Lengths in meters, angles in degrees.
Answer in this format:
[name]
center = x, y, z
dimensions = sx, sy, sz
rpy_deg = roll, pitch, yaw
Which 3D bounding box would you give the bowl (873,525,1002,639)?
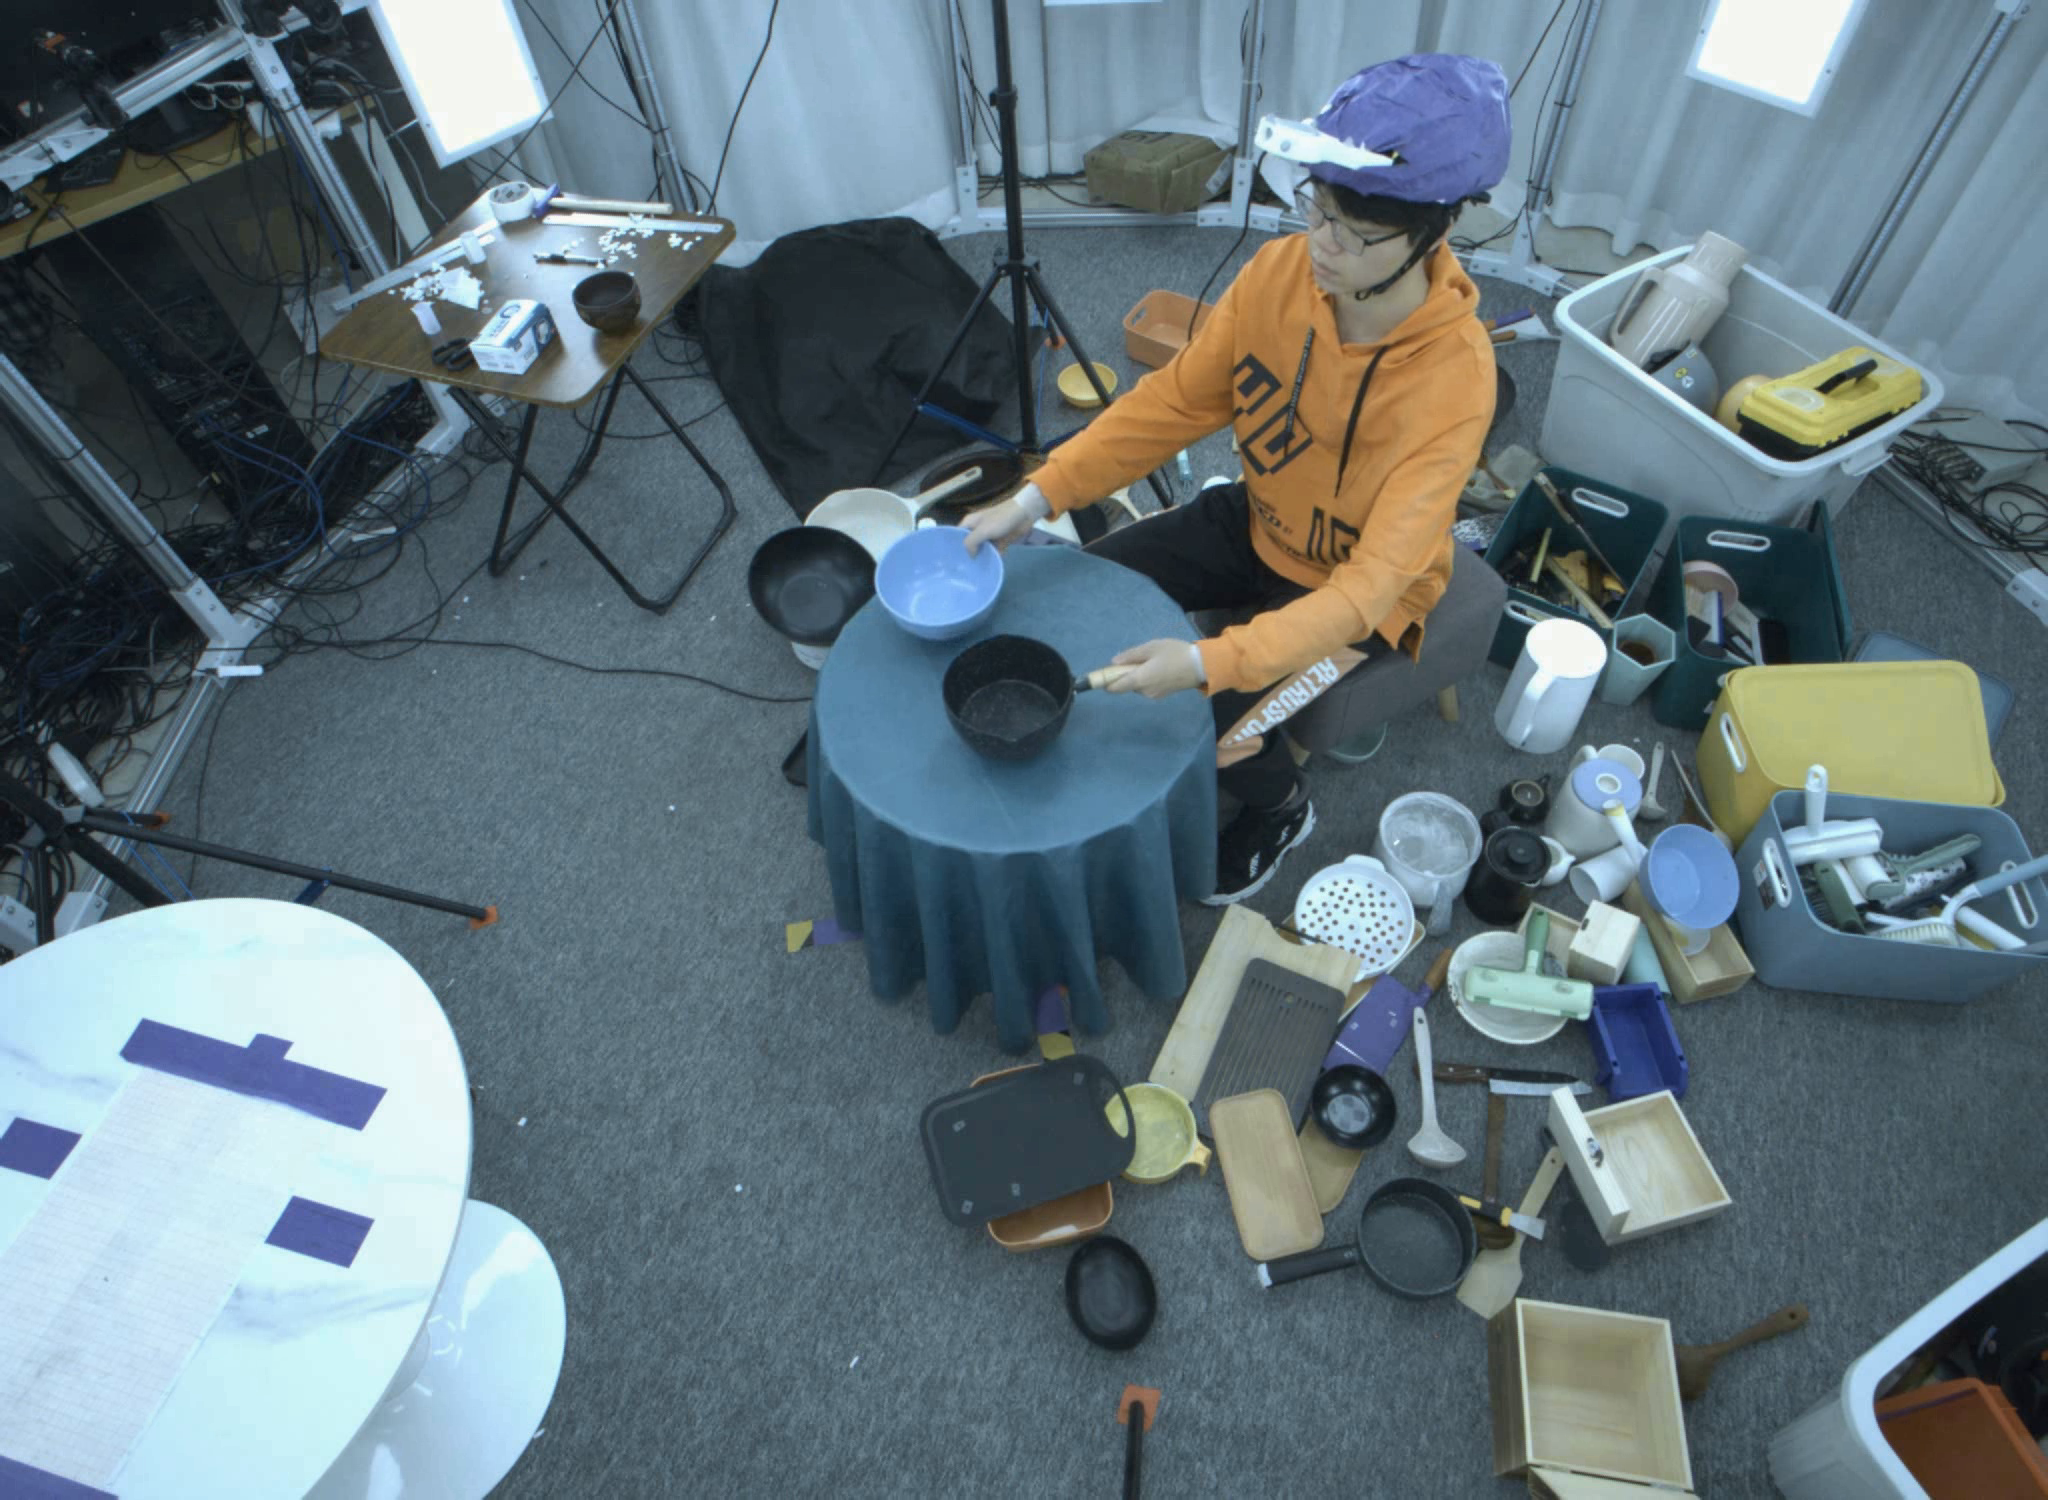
[bowl]
center = -0.130, -0.245, 1.889
dimensions = 0.196, 0.096, 0.194
rpy_deg = 0, 59, 1

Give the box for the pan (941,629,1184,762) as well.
[pan]
center = 0.056, -0.086, 1.750
dimensions = 0.344, 0.109, 0.204
rpy_deg = -8, 54, -3
